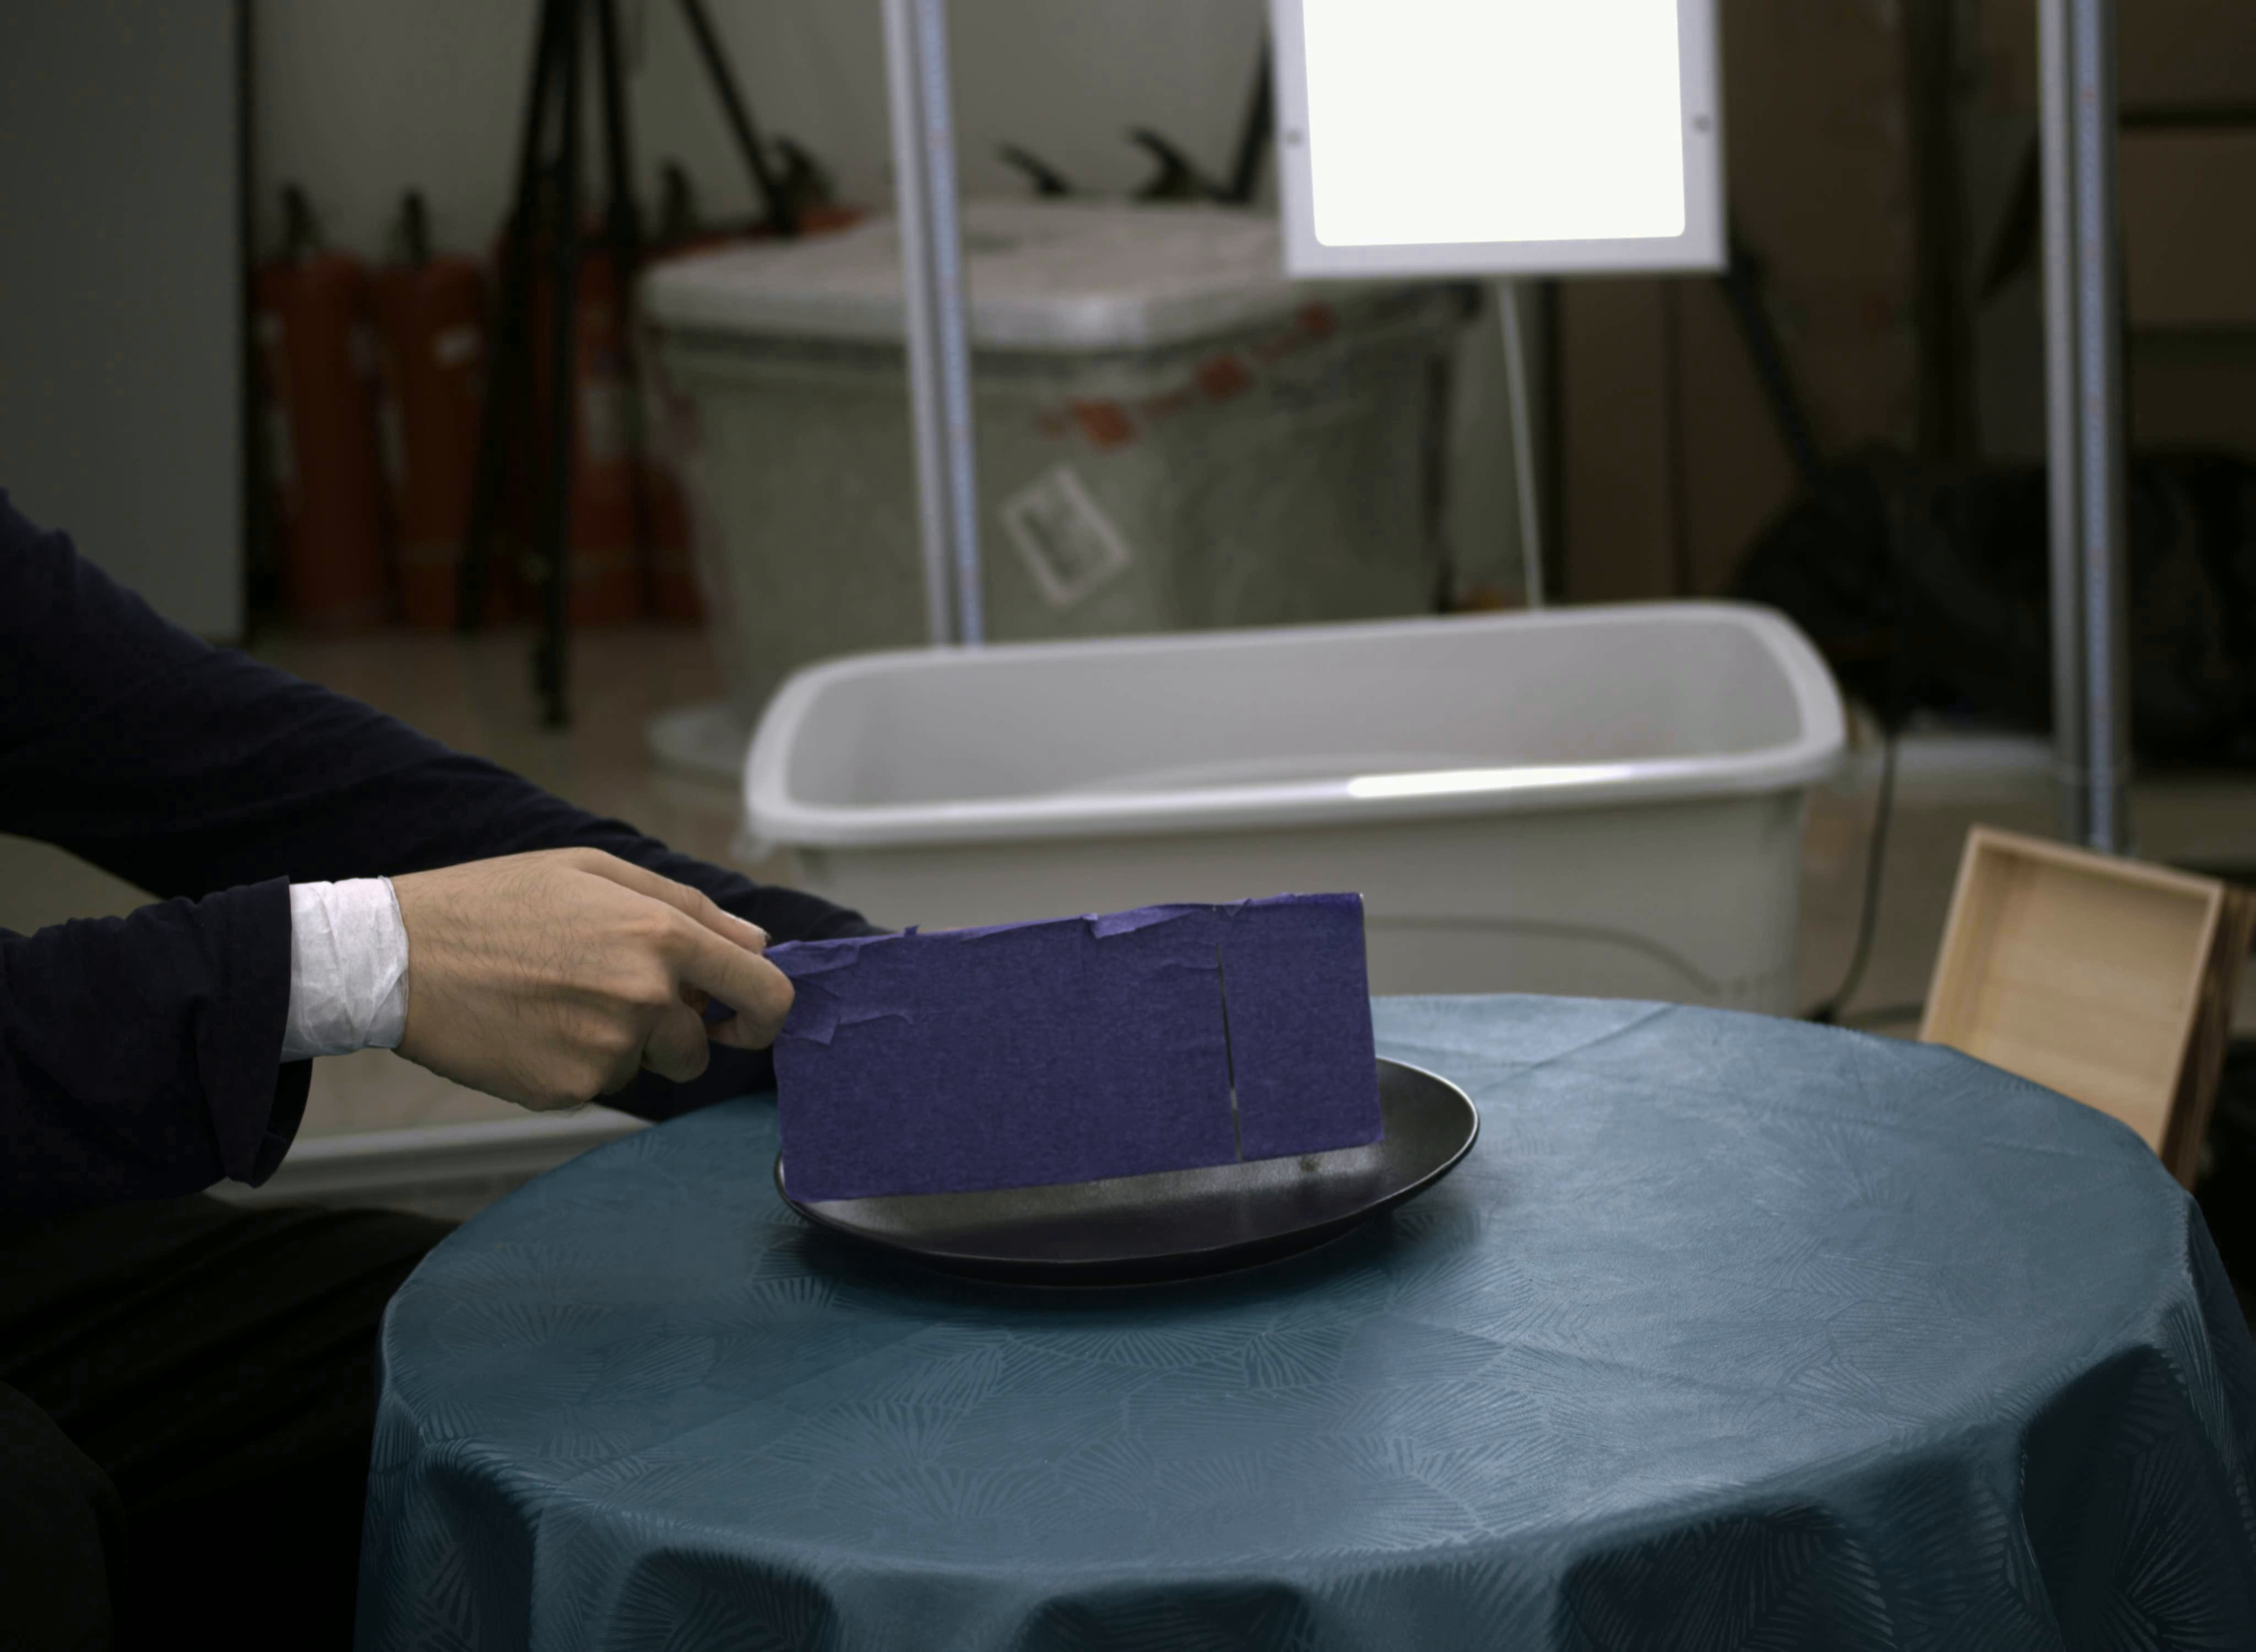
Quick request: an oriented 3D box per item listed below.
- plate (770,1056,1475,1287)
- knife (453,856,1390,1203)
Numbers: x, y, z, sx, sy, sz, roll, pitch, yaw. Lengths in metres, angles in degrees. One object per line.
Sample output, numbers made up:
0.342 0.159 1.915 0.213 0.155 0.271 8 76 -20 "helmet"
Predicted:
-0.001 0.118 1.886 0.244 0.023 0.244 -5 14 0 "plate"
-0.066 0.078 1.850 0.313 0.104 0.032 -6 7 -5 "knife"
